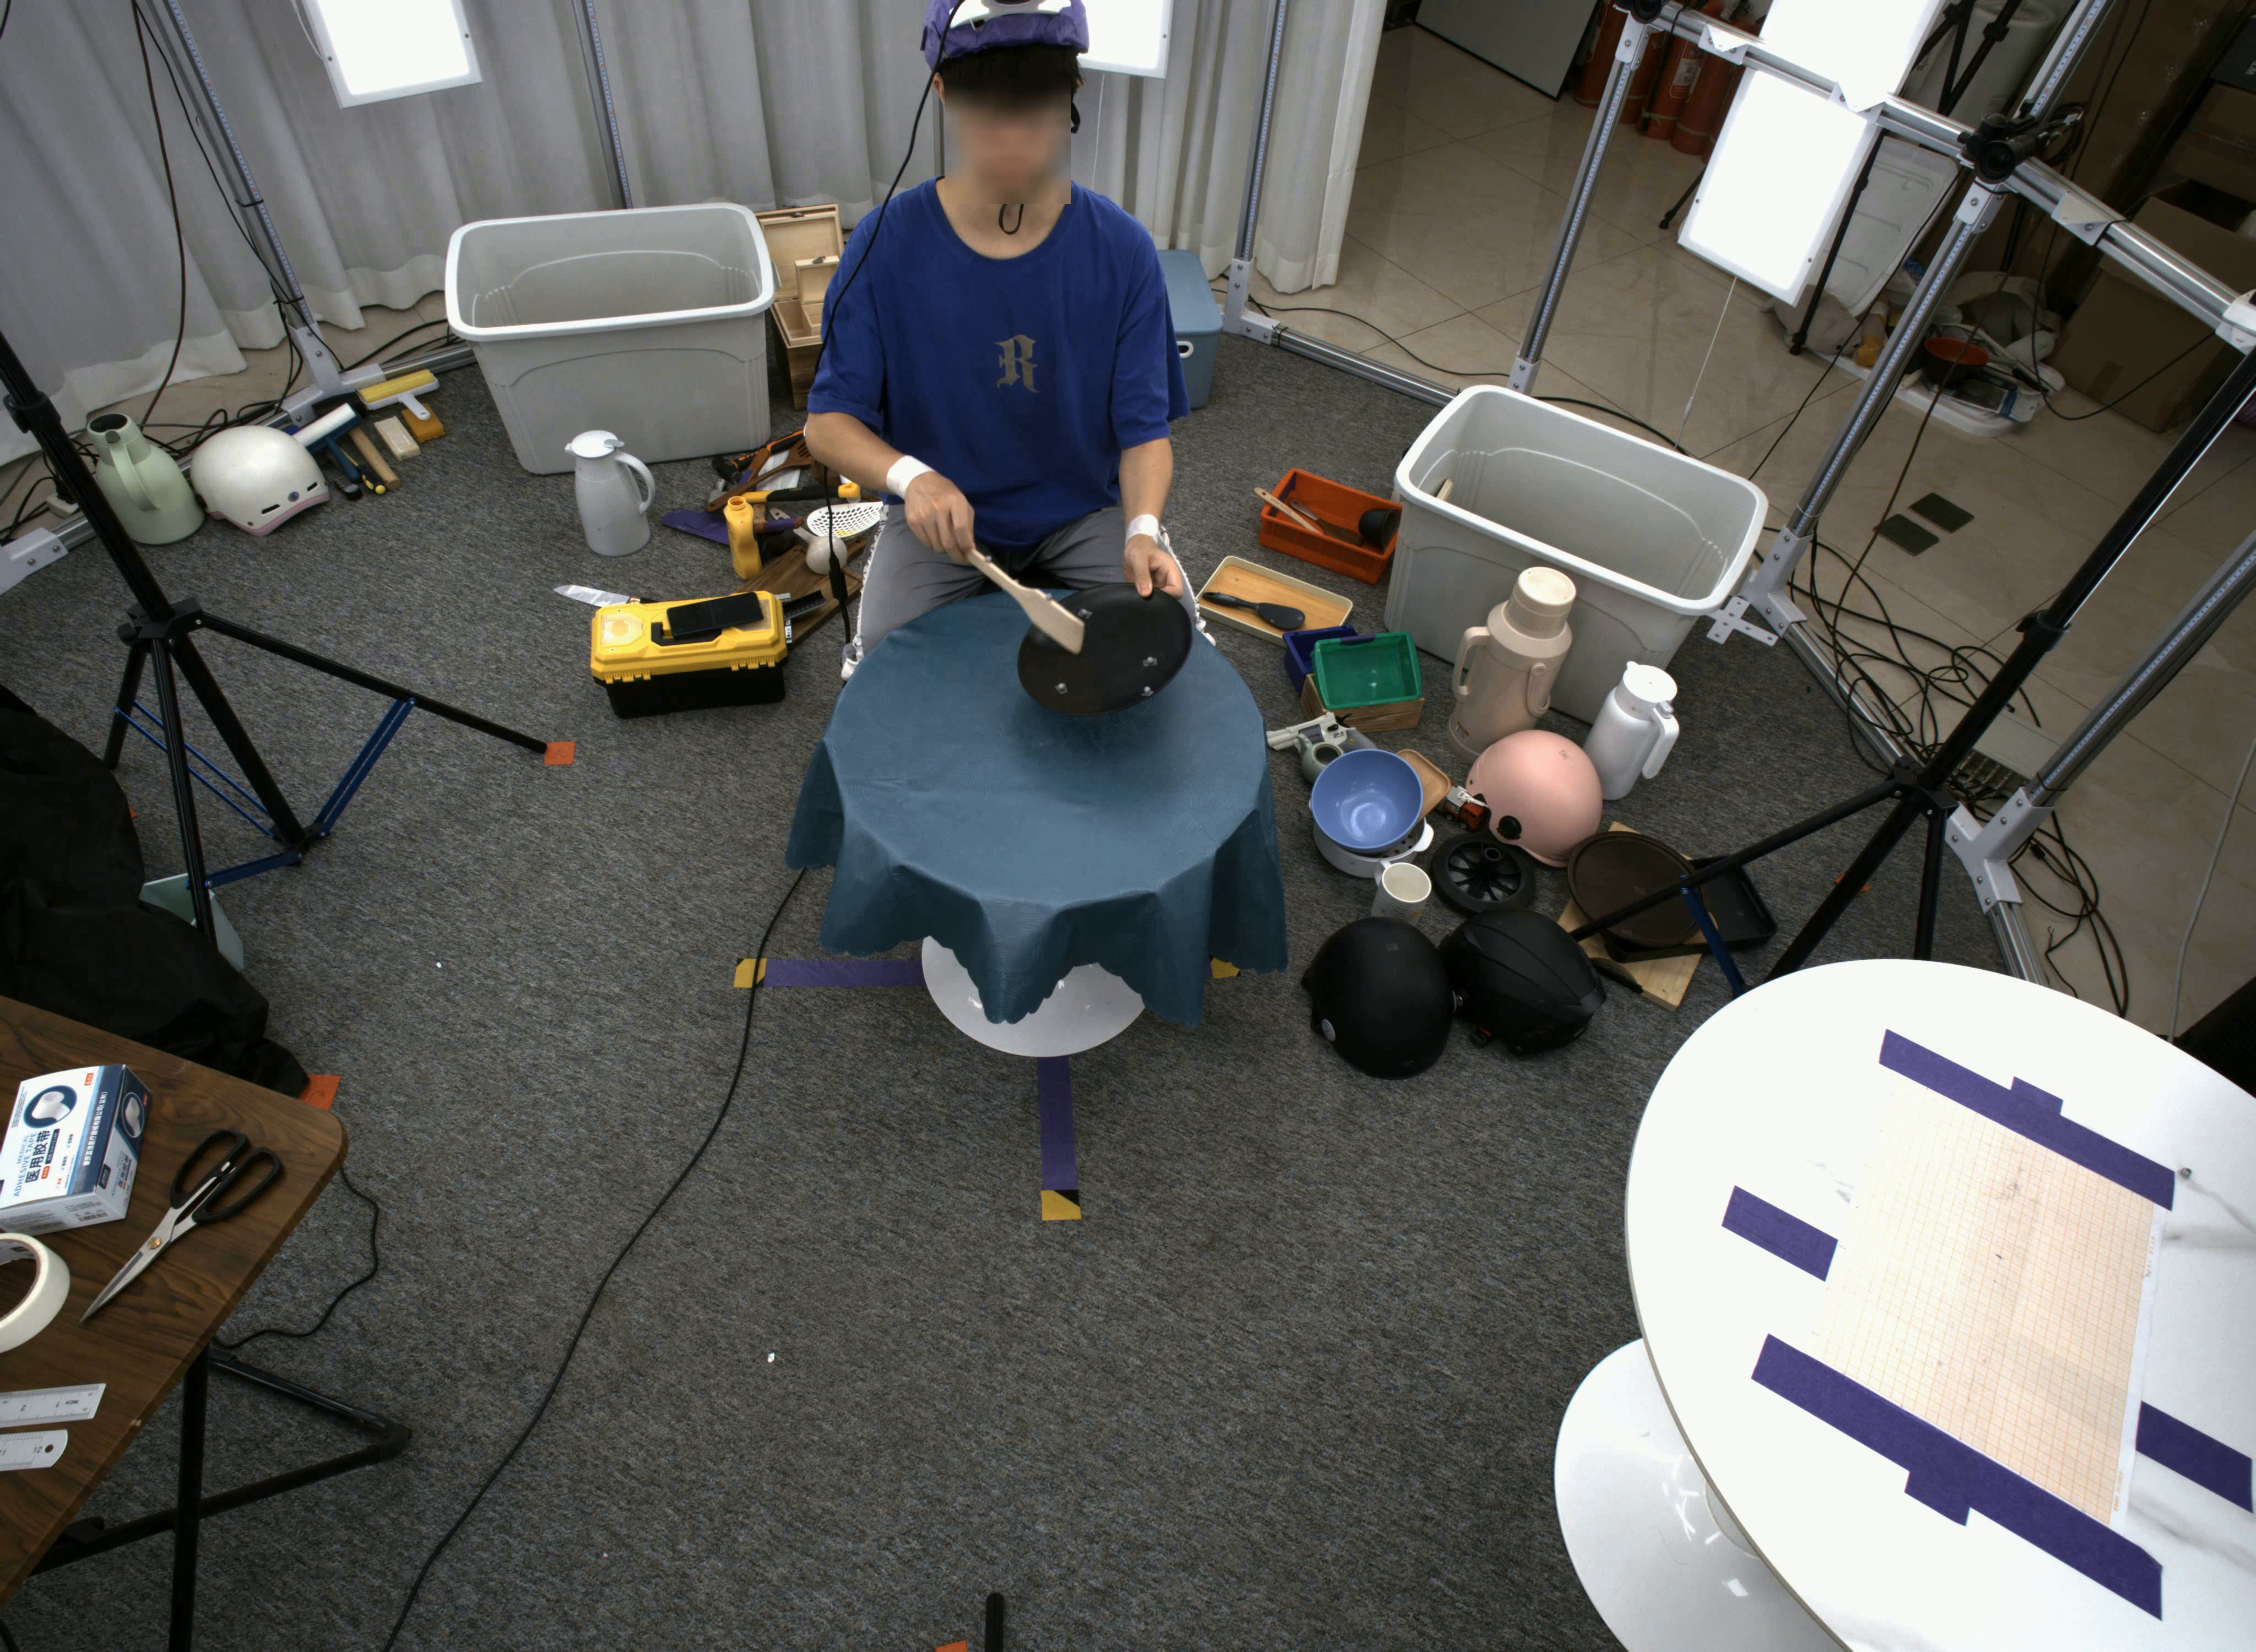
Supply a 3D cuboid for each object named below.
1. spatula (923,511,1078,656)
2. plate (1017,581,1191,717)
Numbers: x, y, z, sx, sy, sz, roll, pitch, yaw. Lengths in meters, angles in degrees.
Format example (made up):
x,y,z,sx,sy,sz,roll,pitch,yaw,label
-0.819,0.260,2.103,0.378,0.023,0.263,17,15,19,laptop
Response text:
x,y,z,sx,sy,sz,roll,pitch,yaw,label
-0.178,-0.339,1.761,0.296,0.071,0.011,41,65,15,spatula
-0.031,-0.239,1.743,0.244,0.023,0.250,-9,52,11,plate
